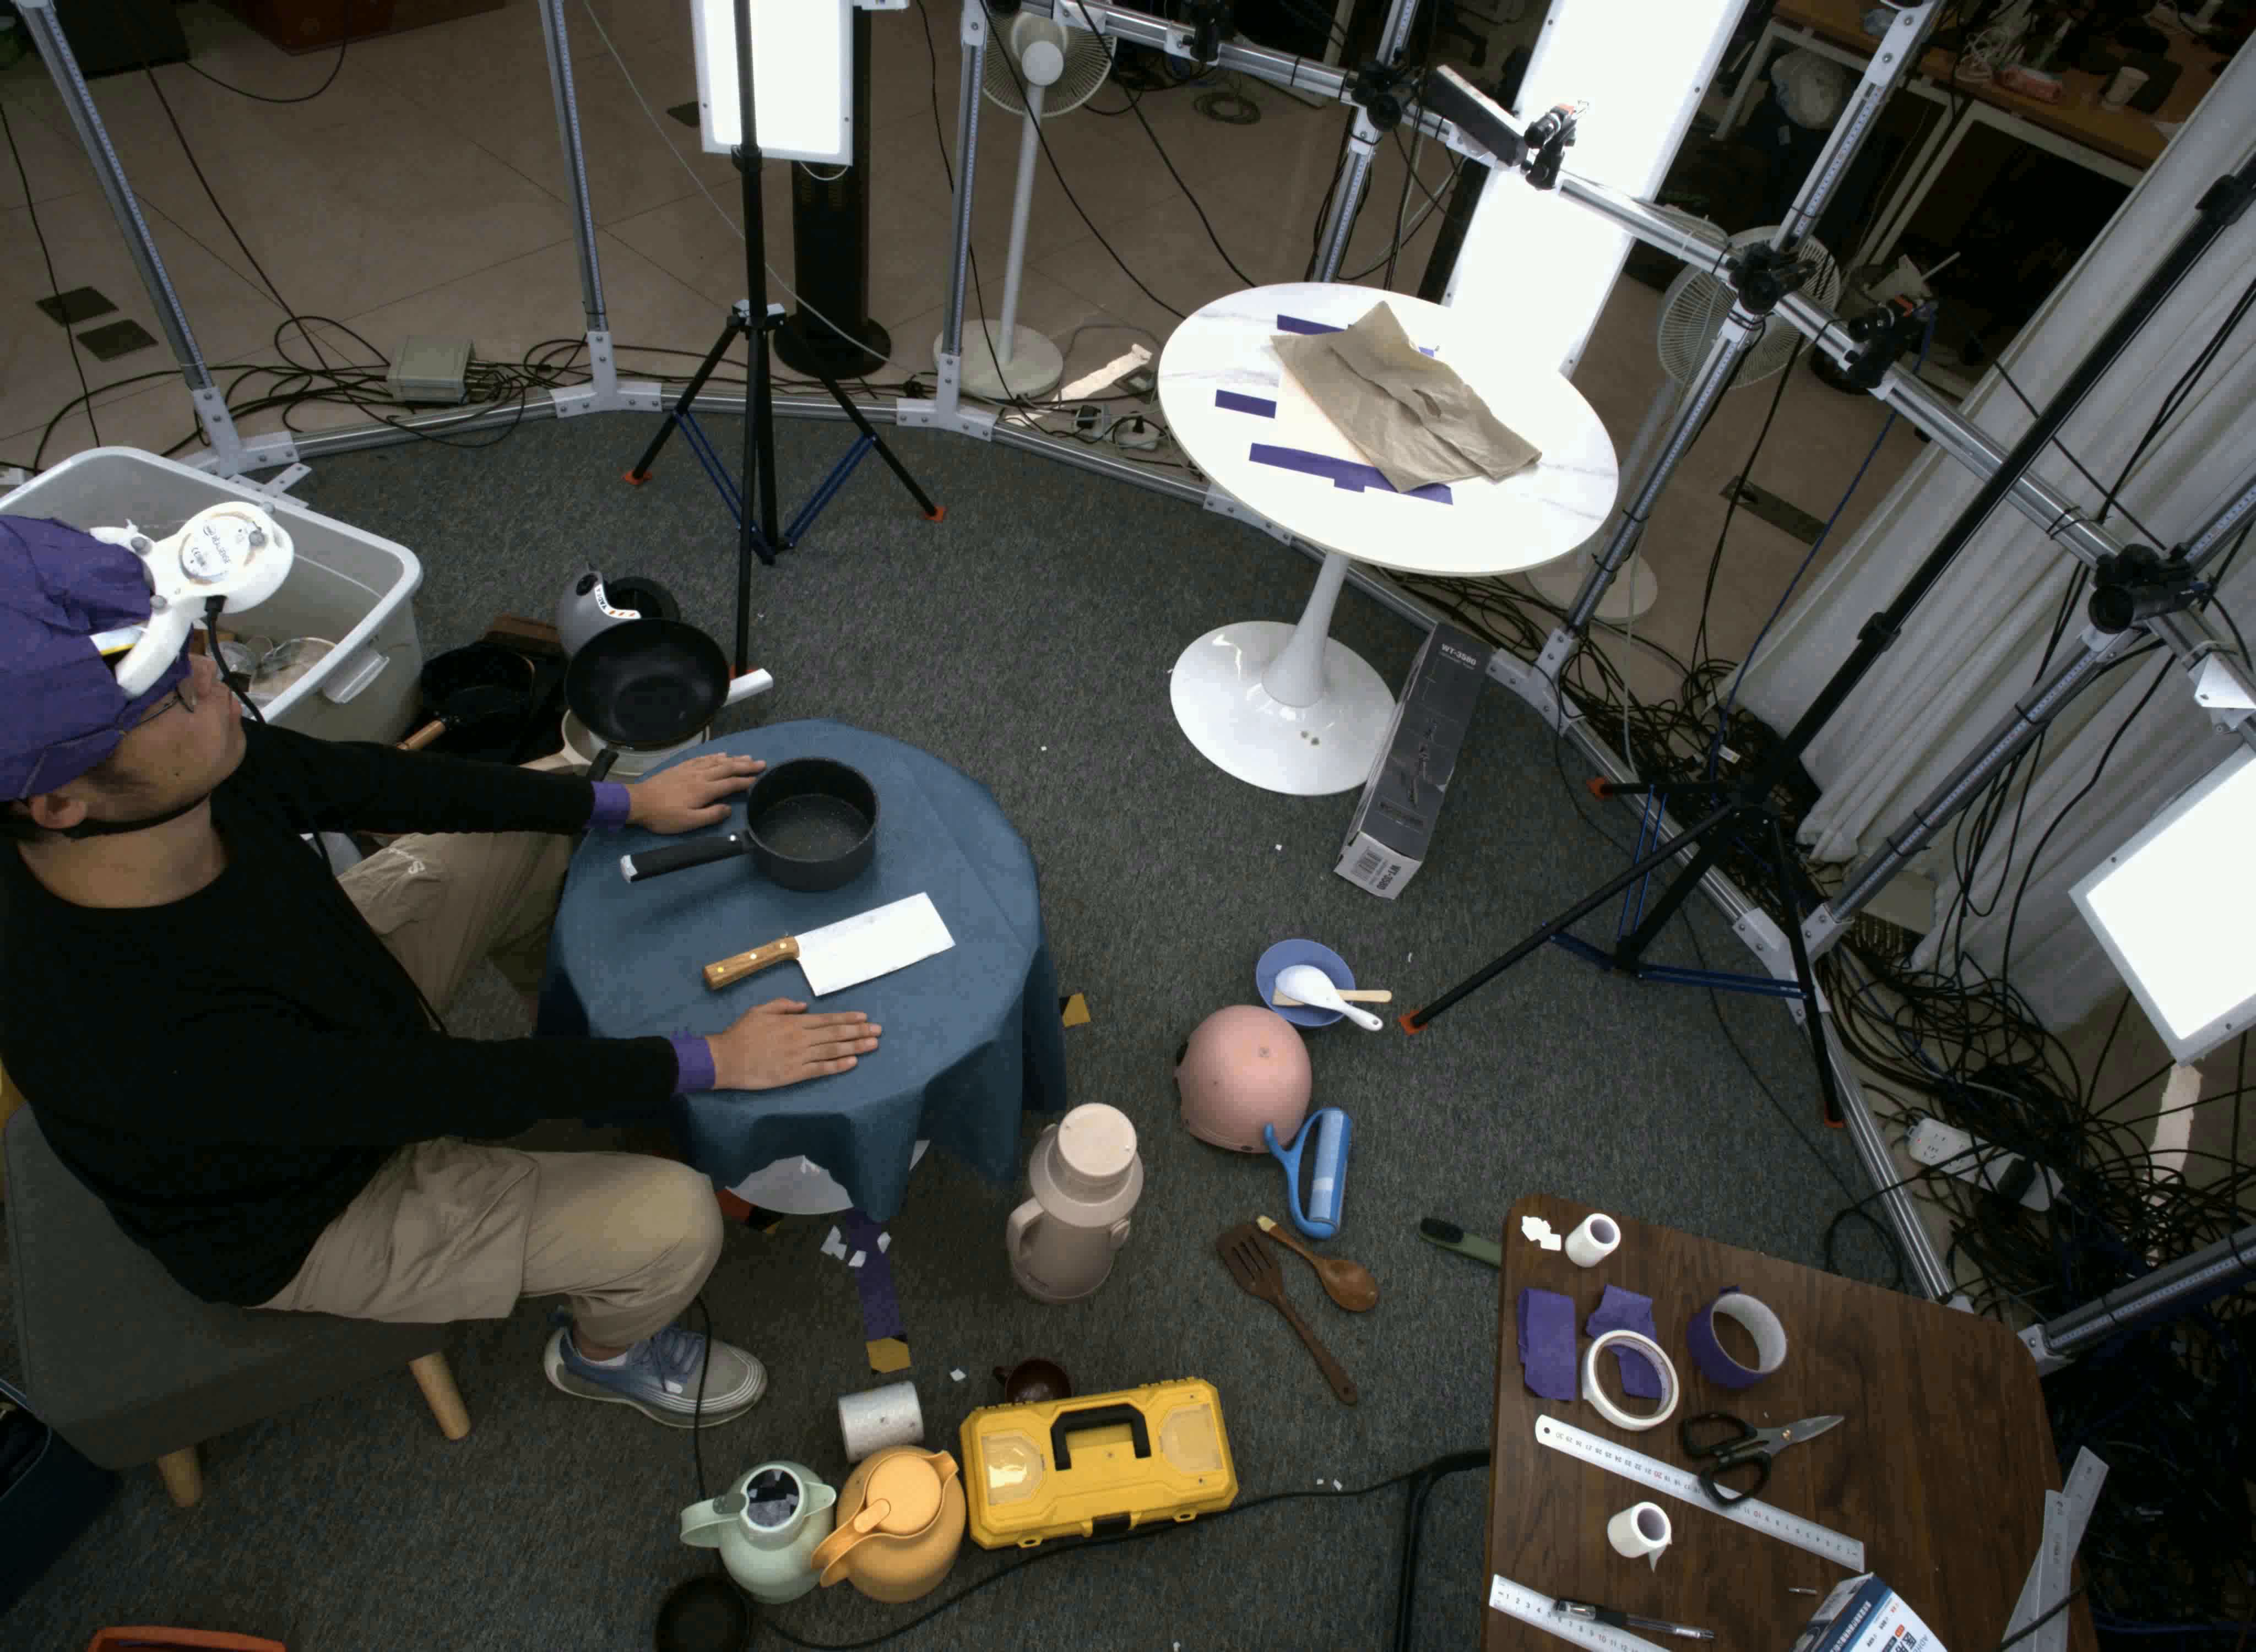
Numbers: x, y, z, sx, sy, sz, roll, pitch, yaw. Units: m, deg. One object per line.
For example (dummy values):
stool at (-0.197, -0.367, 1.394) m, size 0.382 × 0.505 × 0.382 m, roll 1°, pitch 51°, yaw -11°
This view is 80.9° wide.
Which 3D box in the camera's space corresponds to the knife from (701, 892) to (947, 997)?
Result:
knife at (-0.368, 0.160, 1.606) m, size 0.307 × 0.021 × 0.091 m, roll -20°, pitch 62°, yaw -29°

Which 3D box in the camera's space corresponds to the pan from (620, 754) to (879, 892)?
pan at (-0.476, 0.019, 1.641) m, size 0.330 × 0.088 × 0.167 m, roll -18°, pitch 60°, yaw -26°
